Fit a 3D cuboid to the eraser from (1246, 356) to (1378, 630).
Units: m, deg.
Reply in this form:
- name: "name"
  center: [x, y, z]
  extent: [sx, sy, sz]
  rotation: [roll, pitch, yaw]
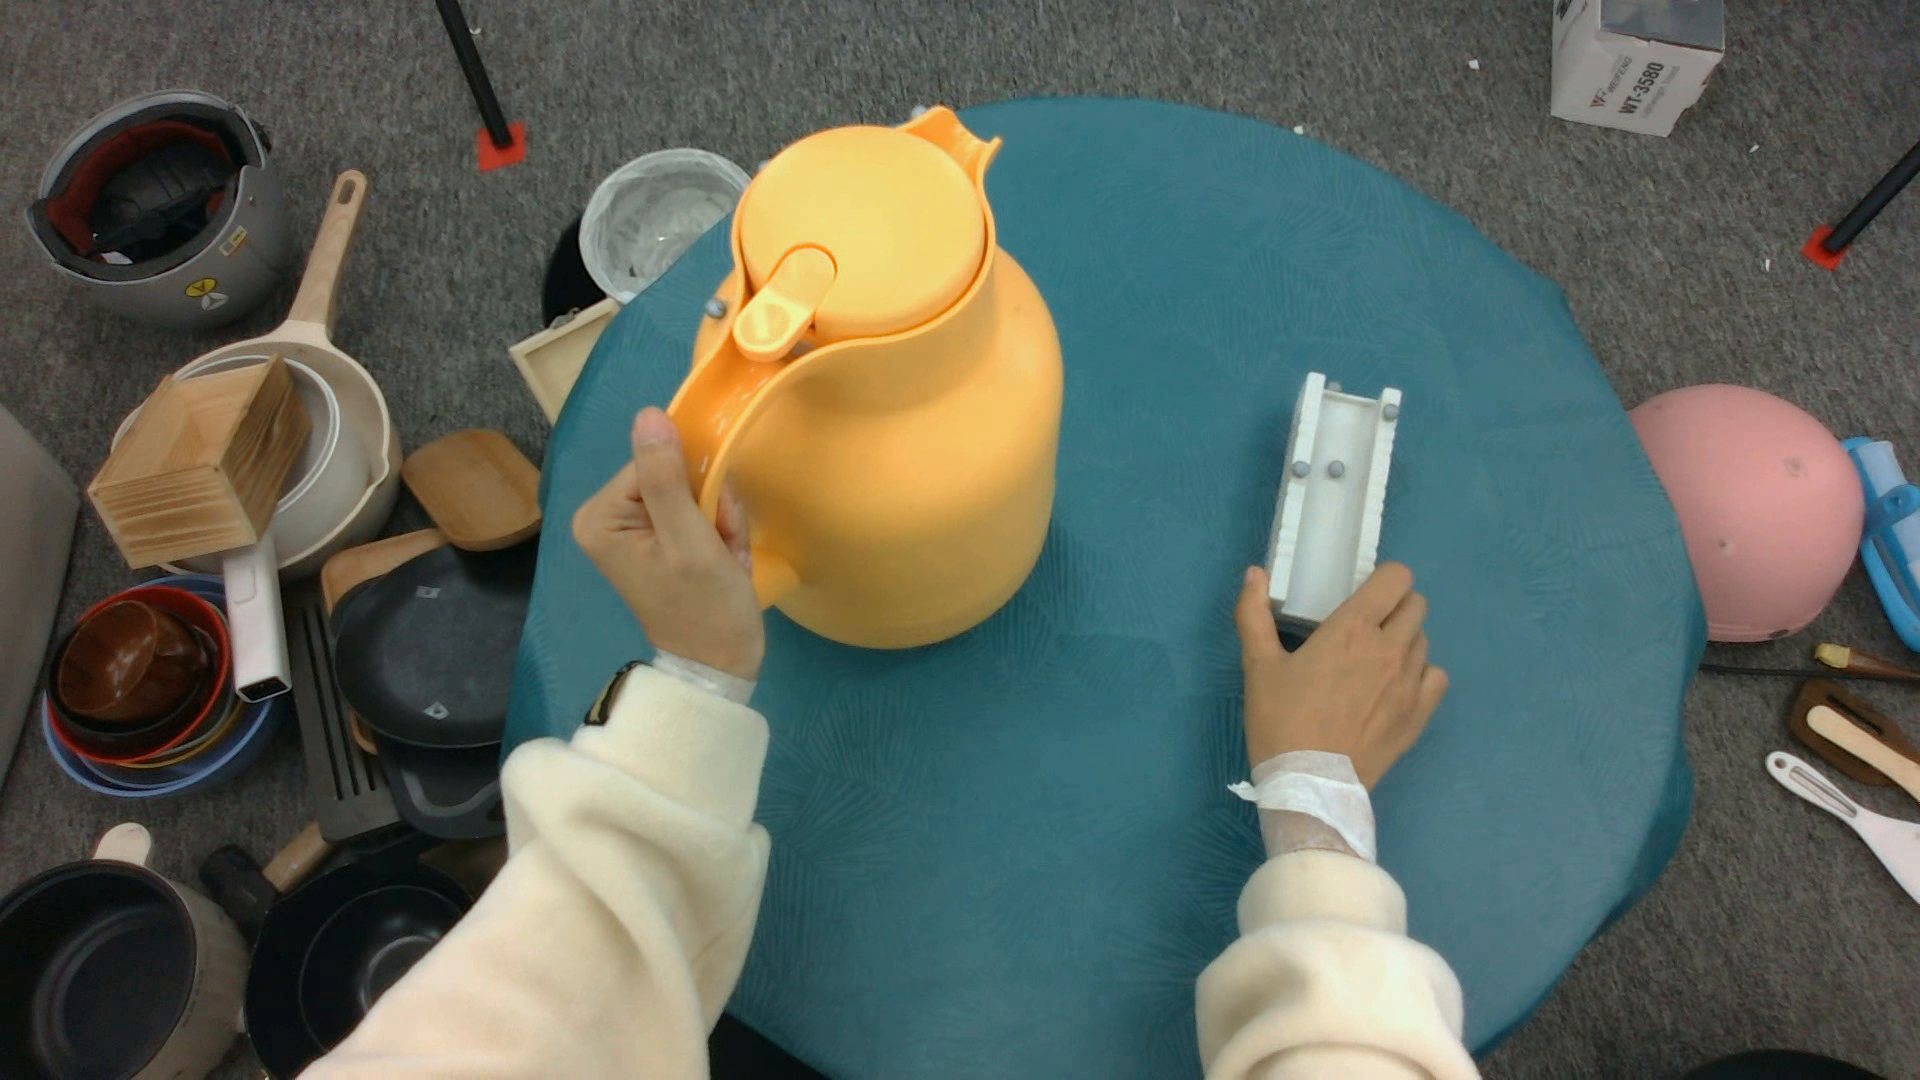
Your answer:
- name: "eraser"
  center: [0.181, -0.024, 0.712]
  extent: [0.050, 0.046, 0.135]
  rotation: [13, 65, 1]

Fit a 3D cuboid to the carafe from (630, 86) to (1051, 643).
- name: "carafe"
  center: [-0.054, -0.056, 0.597]
  extent: [0.163, 0.259, 0.203]
  rotation: [33, 67, 17]
